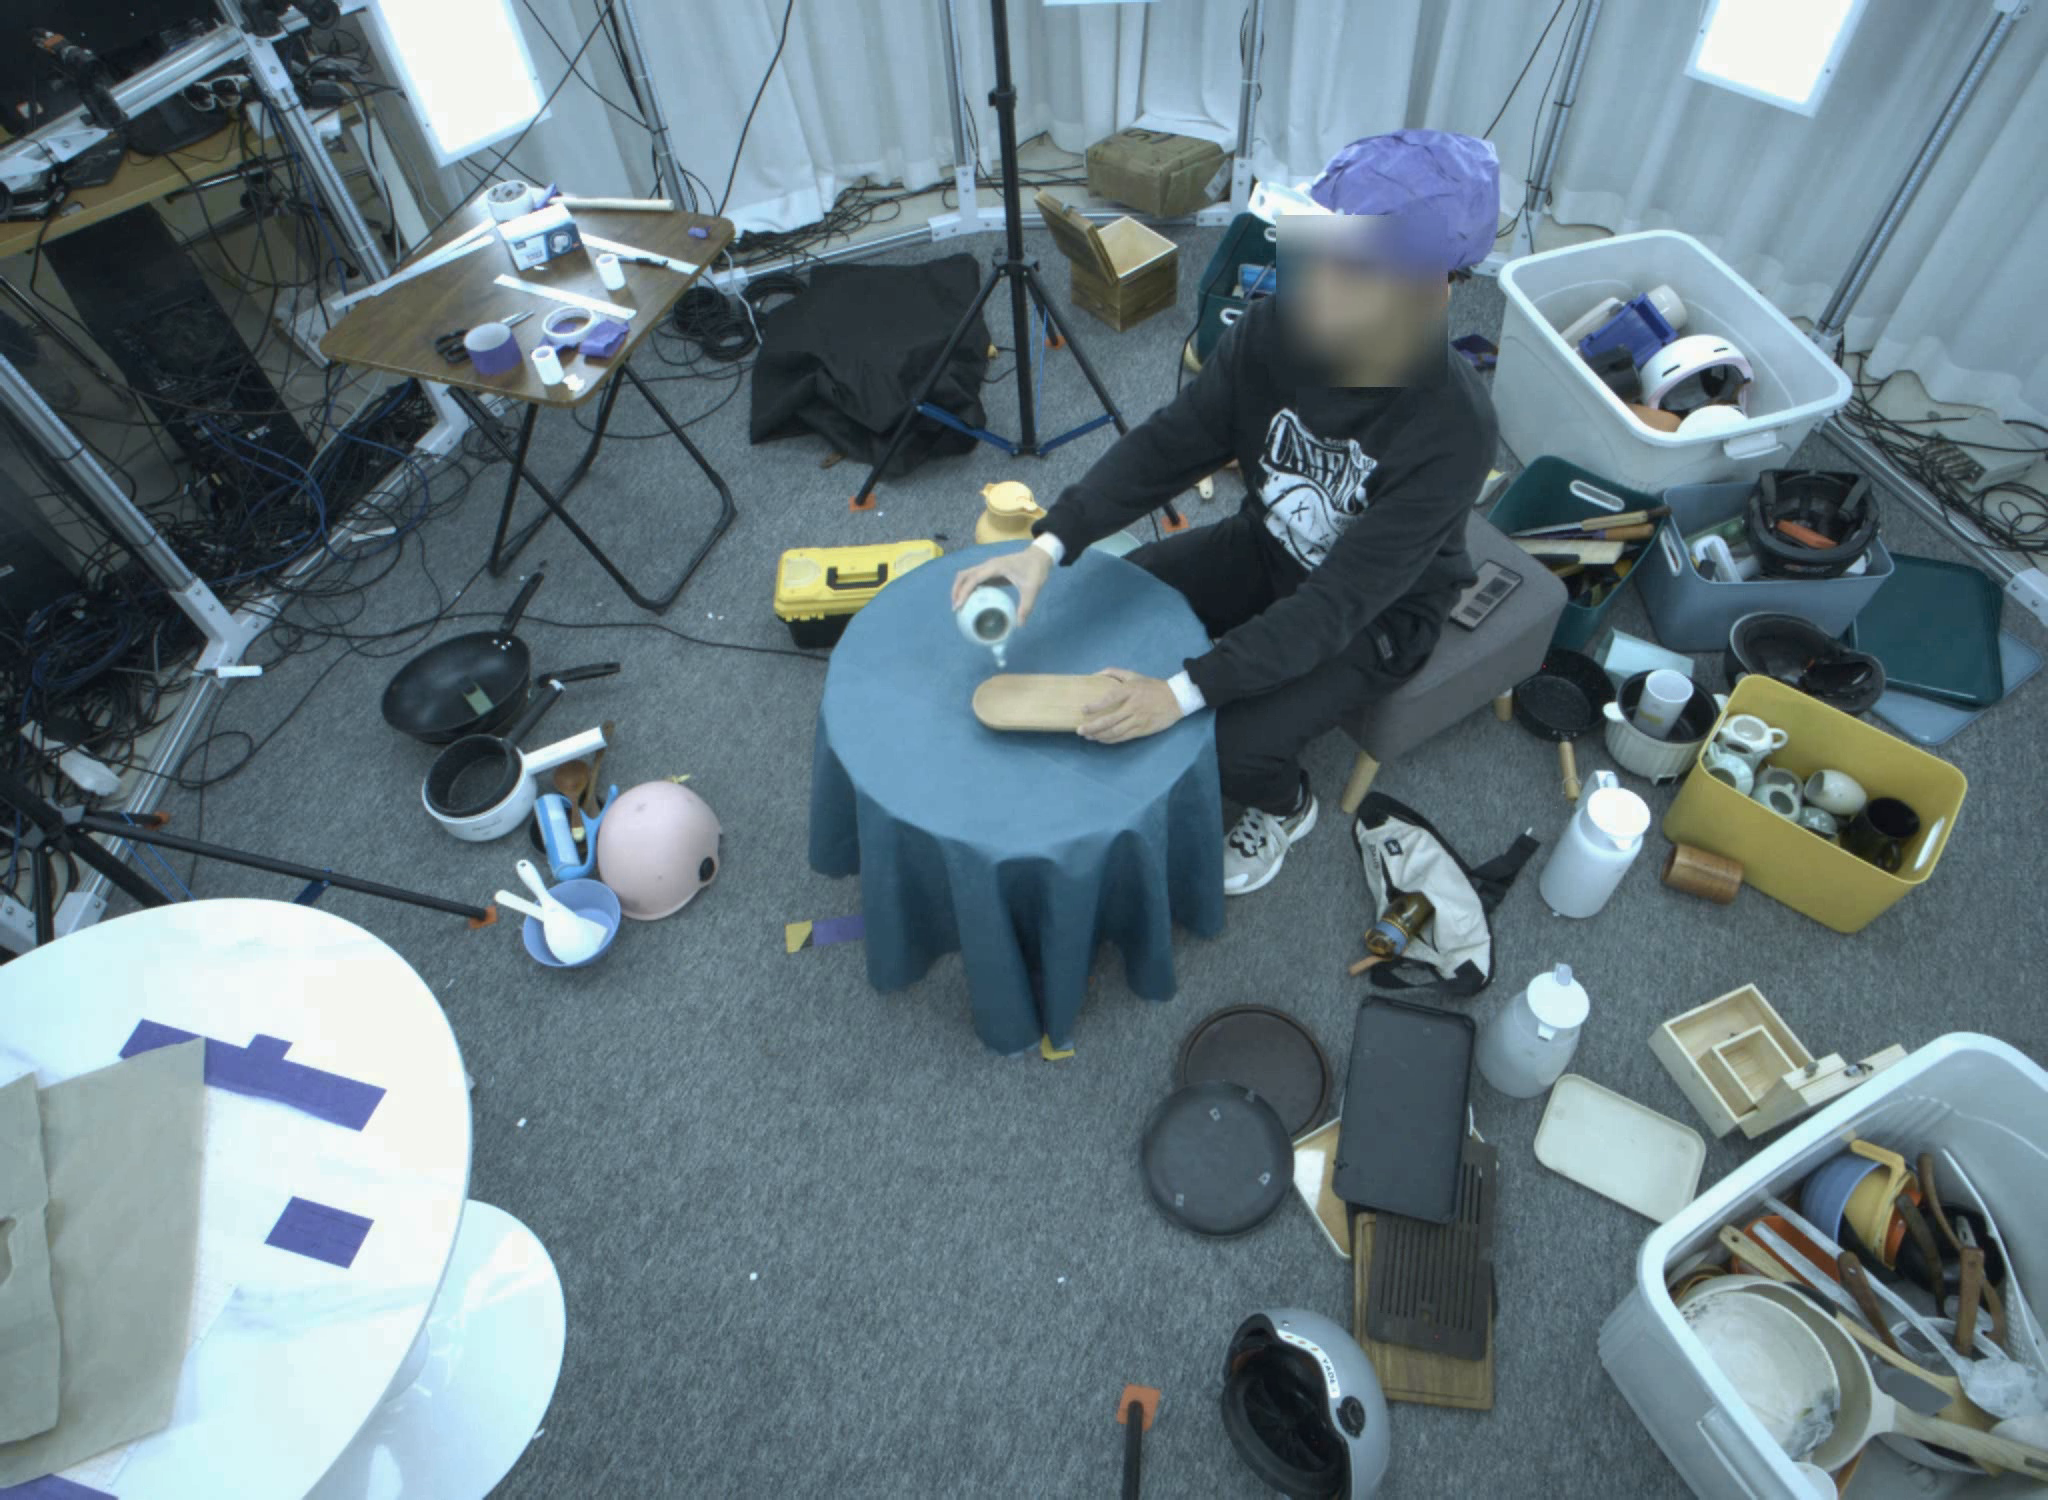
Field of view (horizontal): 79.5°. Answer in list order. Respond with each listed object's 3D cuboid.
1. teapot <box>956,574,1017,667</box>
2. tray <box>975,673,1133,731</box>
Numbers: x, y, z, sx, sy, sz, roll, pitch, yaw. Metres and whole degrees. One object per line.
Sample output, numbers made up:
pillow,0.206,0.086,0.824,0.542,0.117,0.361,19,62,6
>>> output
teapot,-0.055,-0.194,1.775,0.088,0.146,0.073,-17,36,-5
tray,0.043,-0.069,1.793,0.230,0.020,0.101,2,53,5
